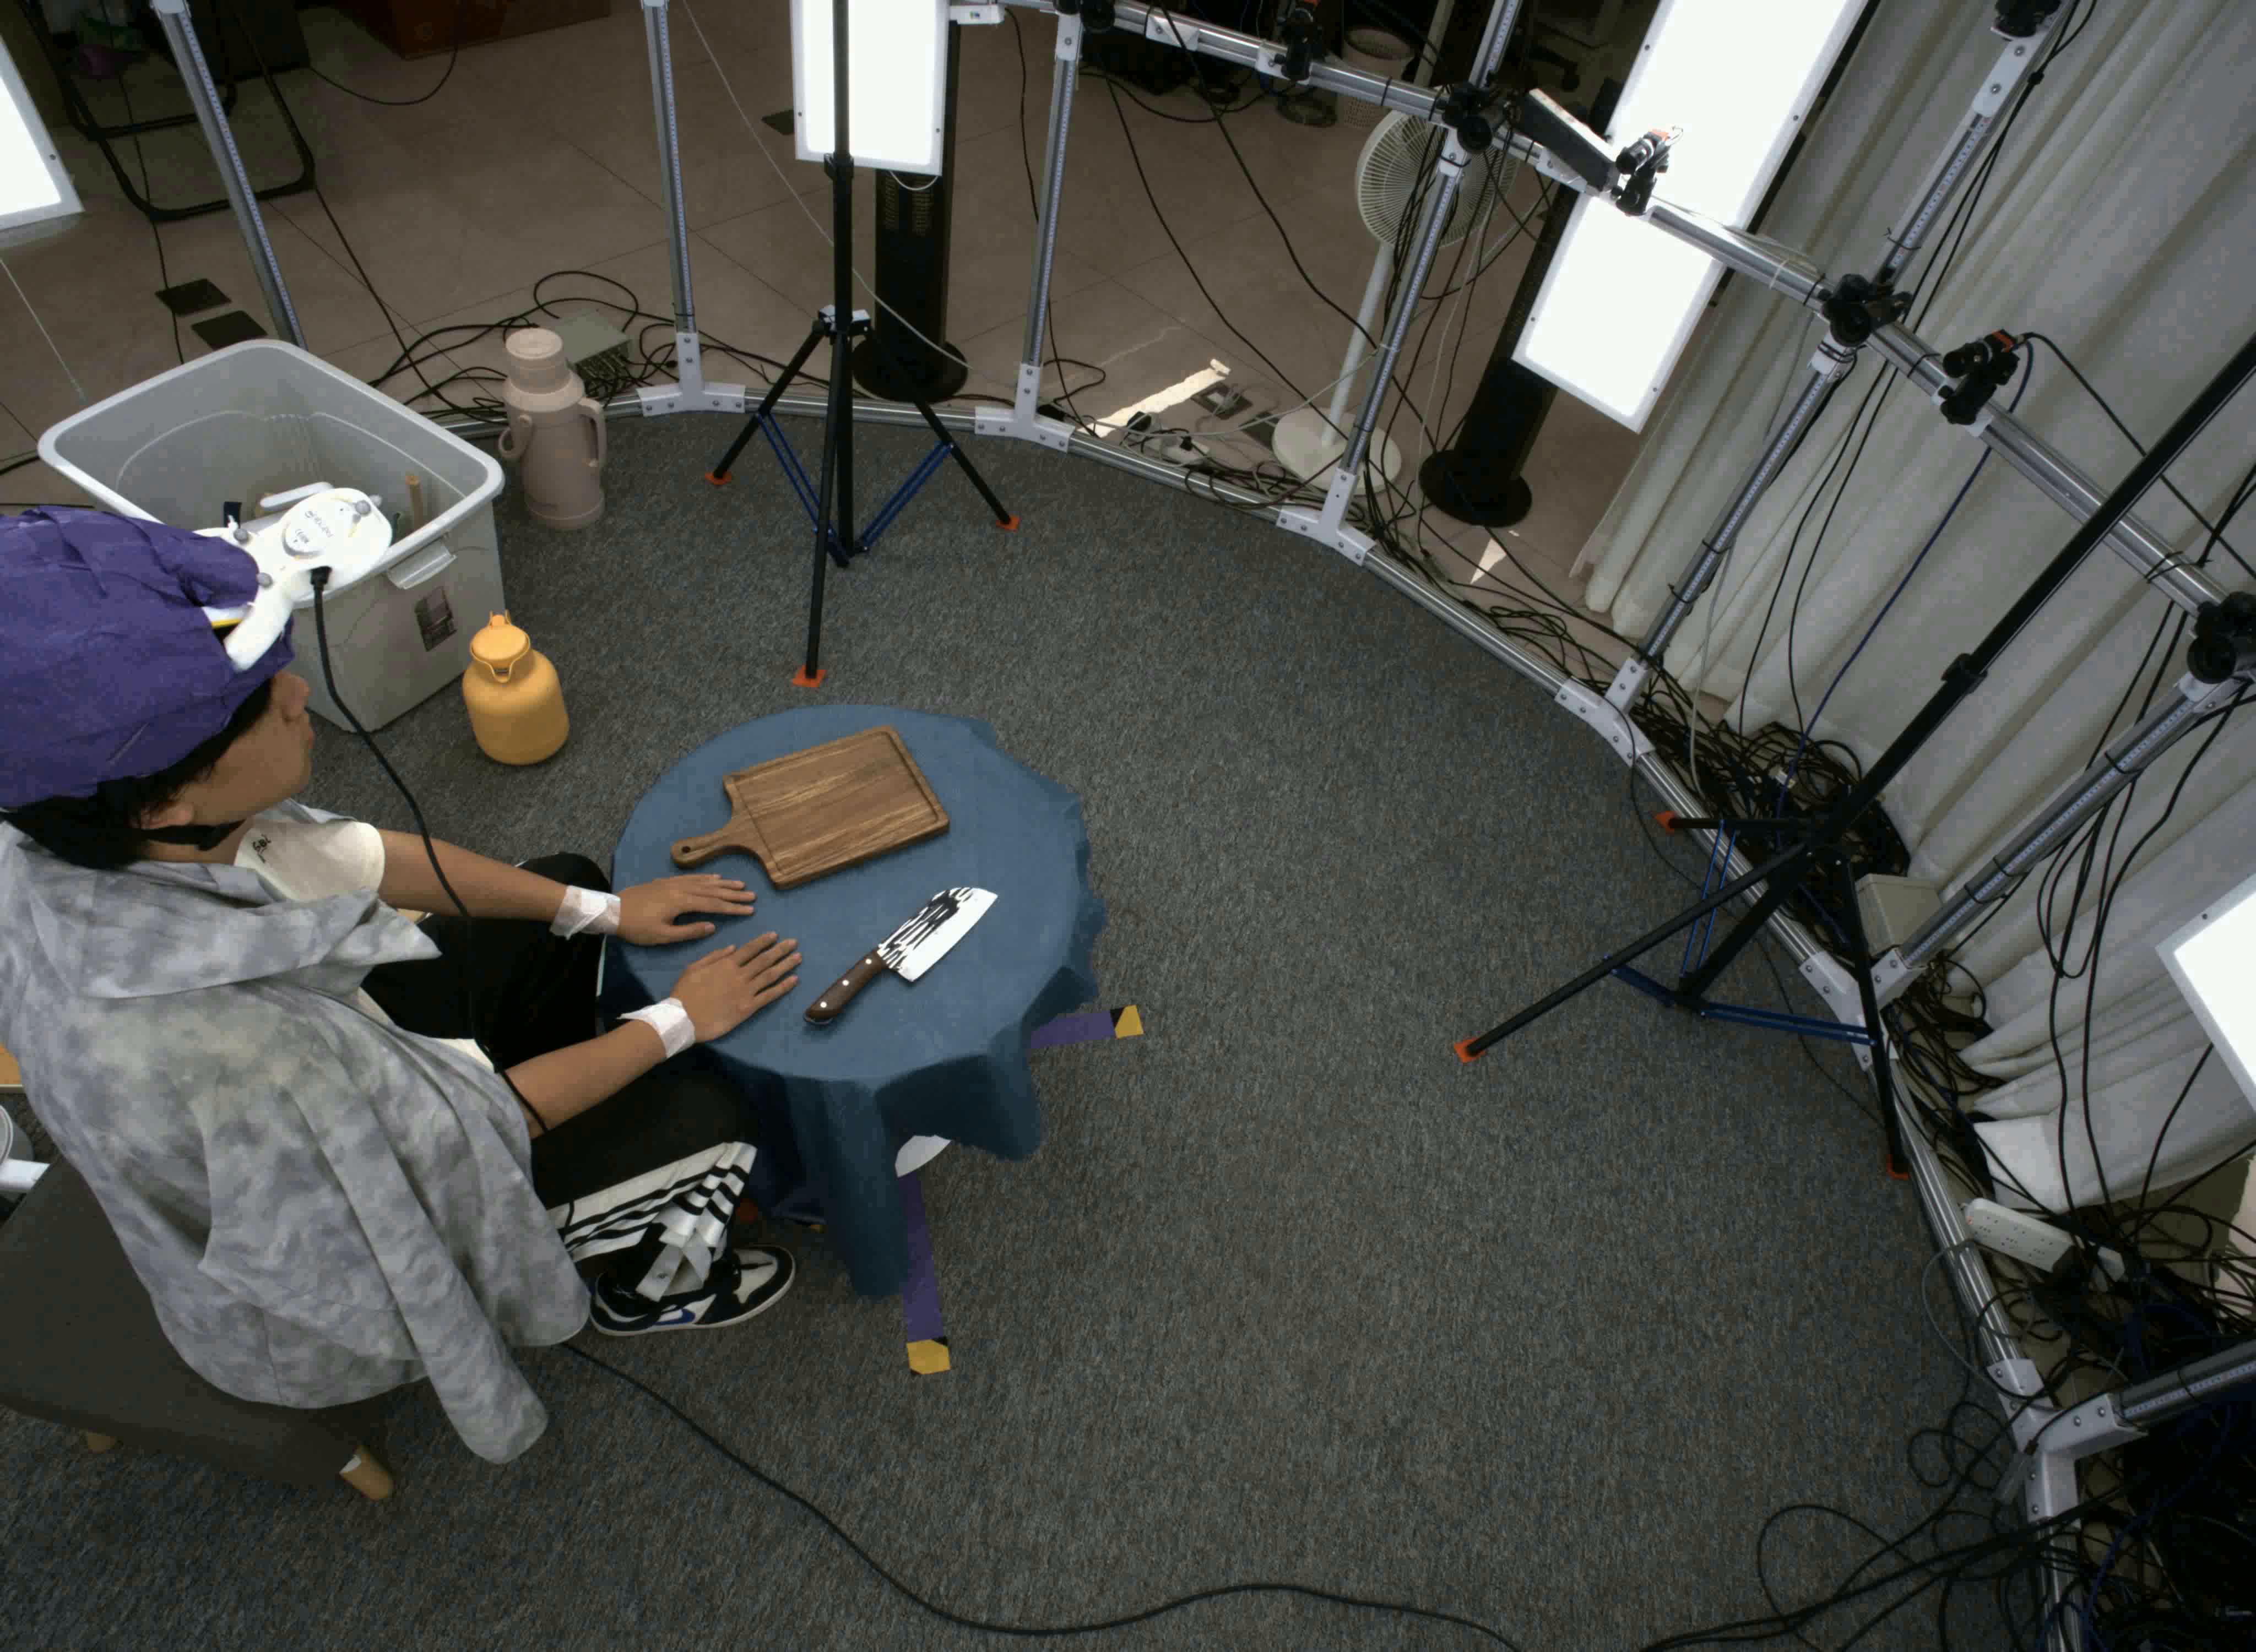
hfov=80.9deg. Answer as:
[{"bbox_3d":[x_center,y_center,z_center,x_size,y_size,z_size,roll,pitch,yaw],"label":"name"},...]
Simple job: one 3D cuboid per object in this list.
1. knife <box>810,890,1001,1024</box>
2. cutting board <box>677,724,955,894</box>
[{"bbox_3d":[-0.272,0.160,1.632,0.067,0.024,0.299,38,52,13],"label":"knife"},{"bbox_3d":[-0.427,-0.014,1.722,0.354,0.024,0.196,-22,61,-26],"label":"cutting board"}]
